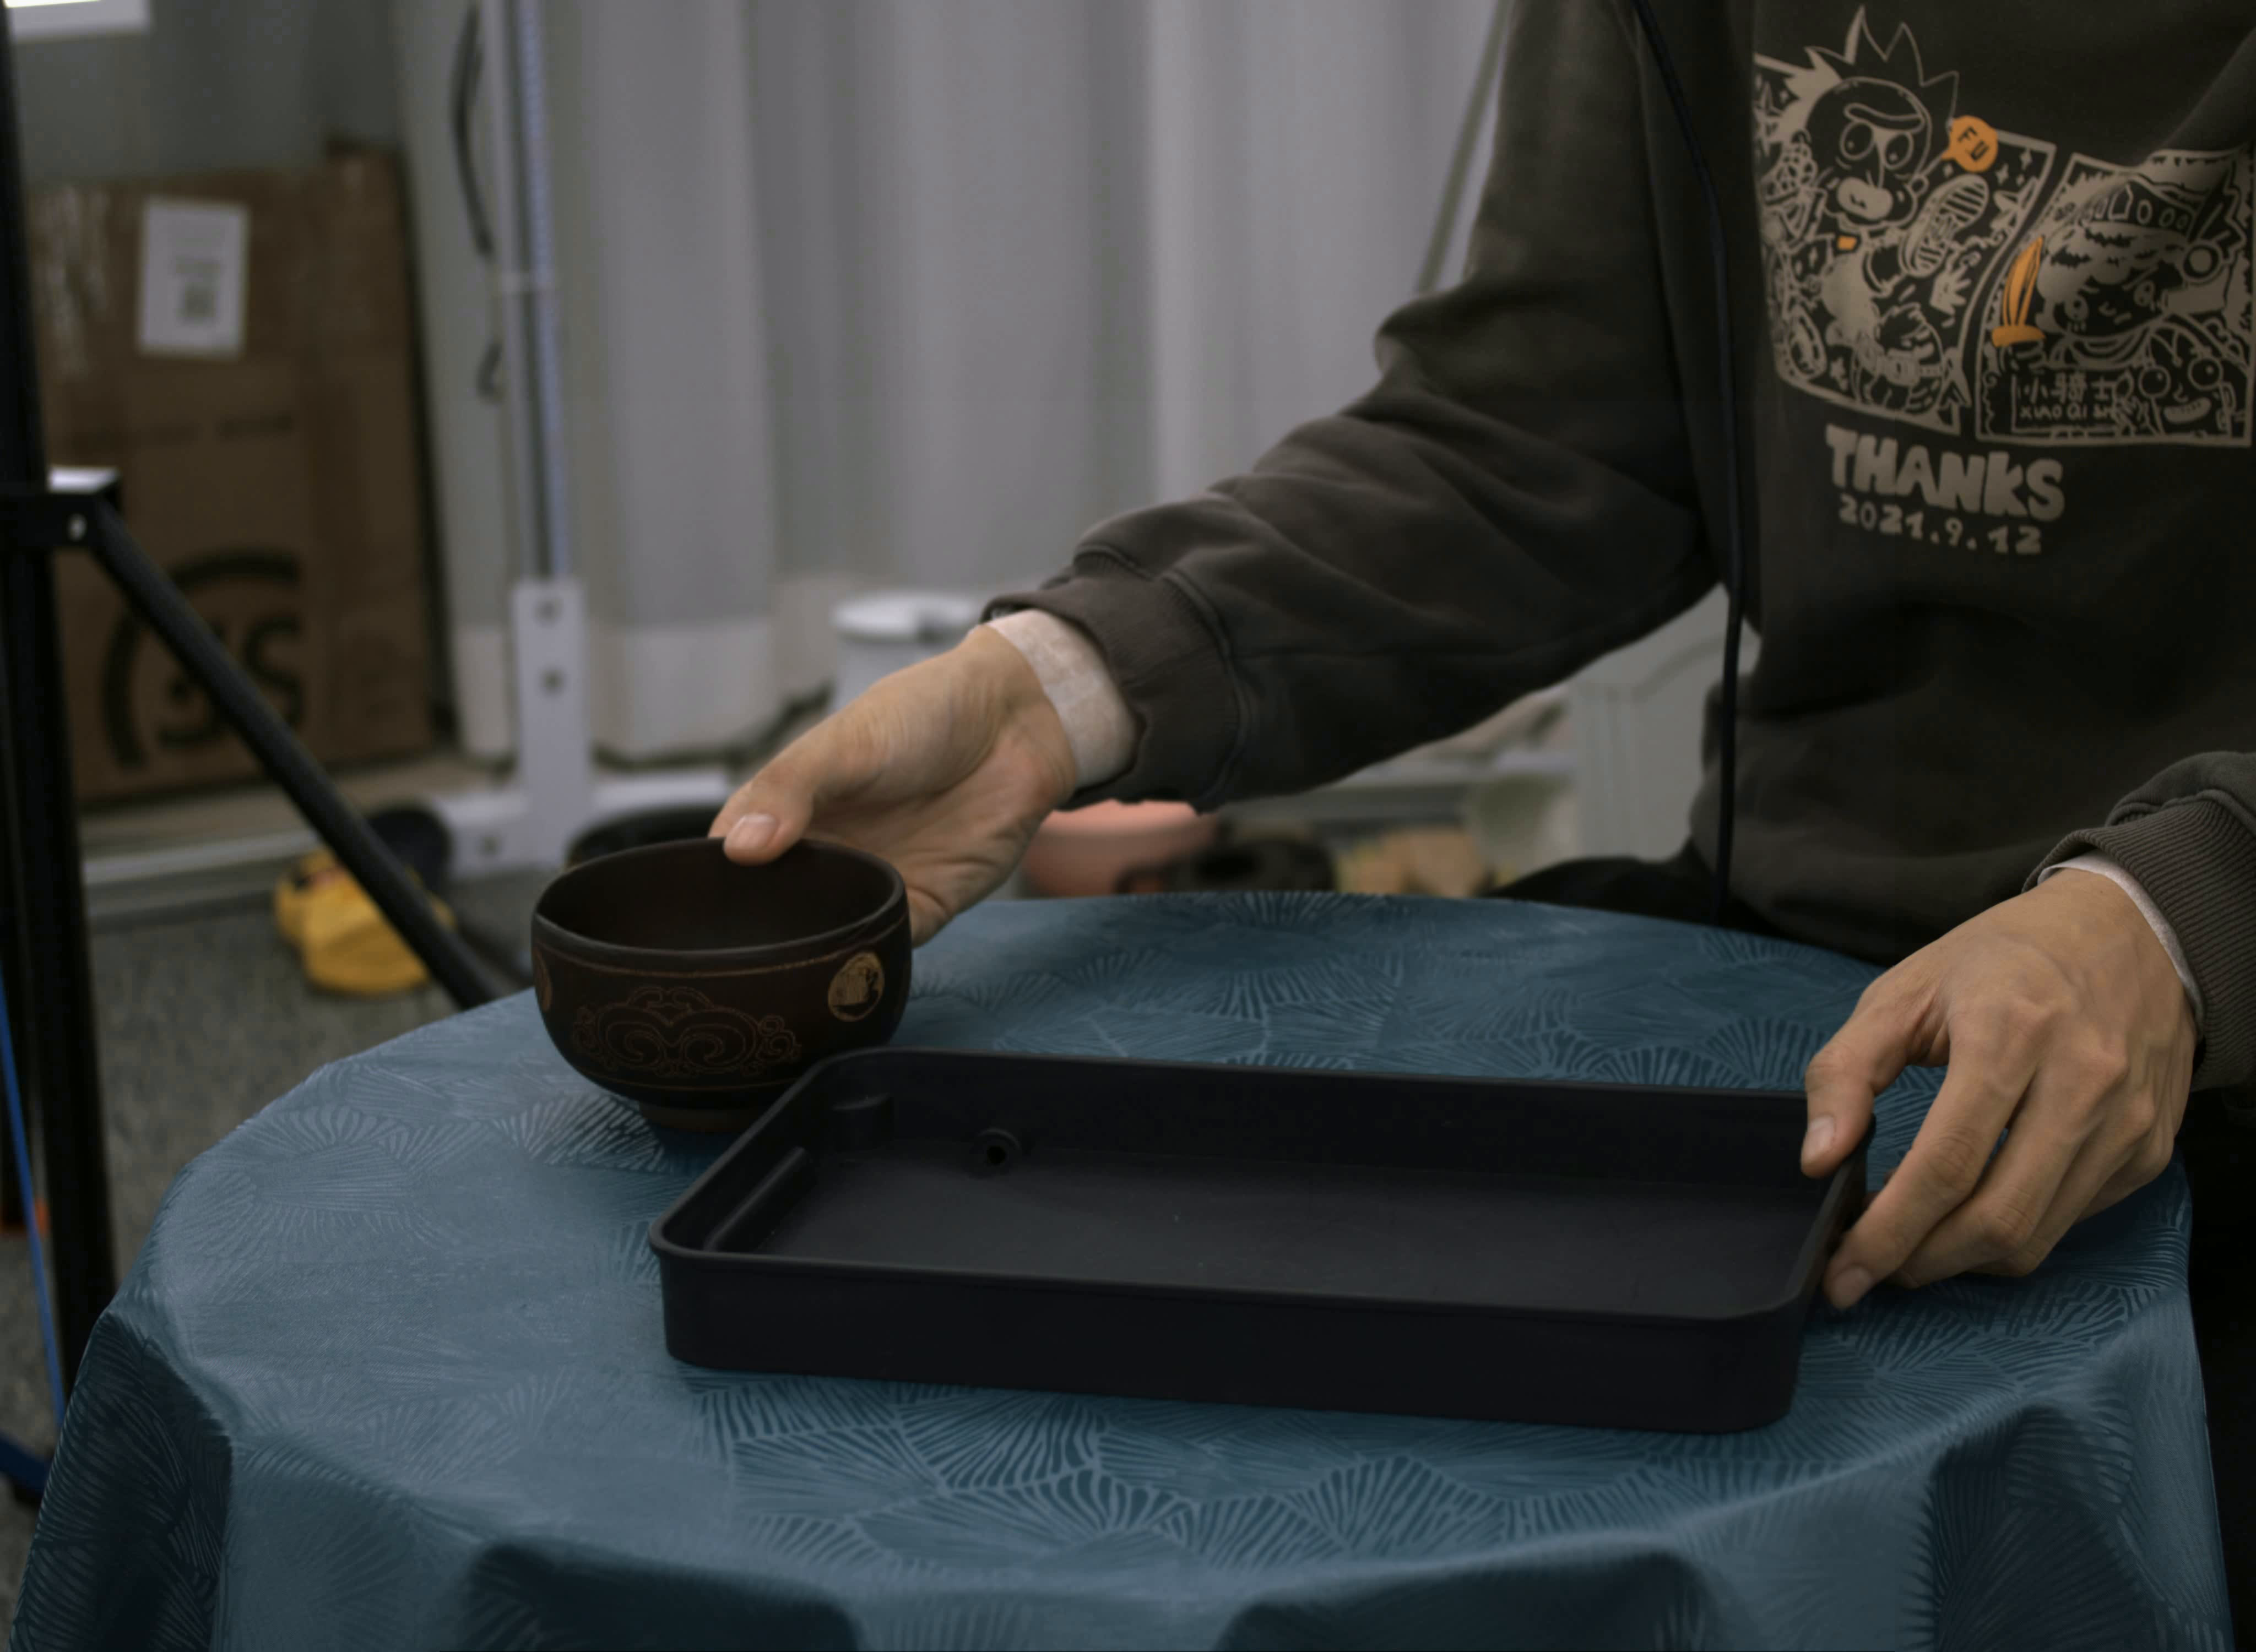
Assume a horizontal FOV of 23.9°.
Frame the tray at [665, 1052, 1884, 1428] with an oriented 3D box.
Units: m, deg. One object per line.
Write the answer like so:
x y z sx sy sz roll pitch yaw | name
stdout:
0.045 0.112 1.475 0.320 0.037 0.183 1 16 16 | tray

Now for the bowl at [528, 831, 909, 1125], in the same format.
-0.126 0.051 1.650 0.117 0.070 0.118 -2 17 -1 | bowl
